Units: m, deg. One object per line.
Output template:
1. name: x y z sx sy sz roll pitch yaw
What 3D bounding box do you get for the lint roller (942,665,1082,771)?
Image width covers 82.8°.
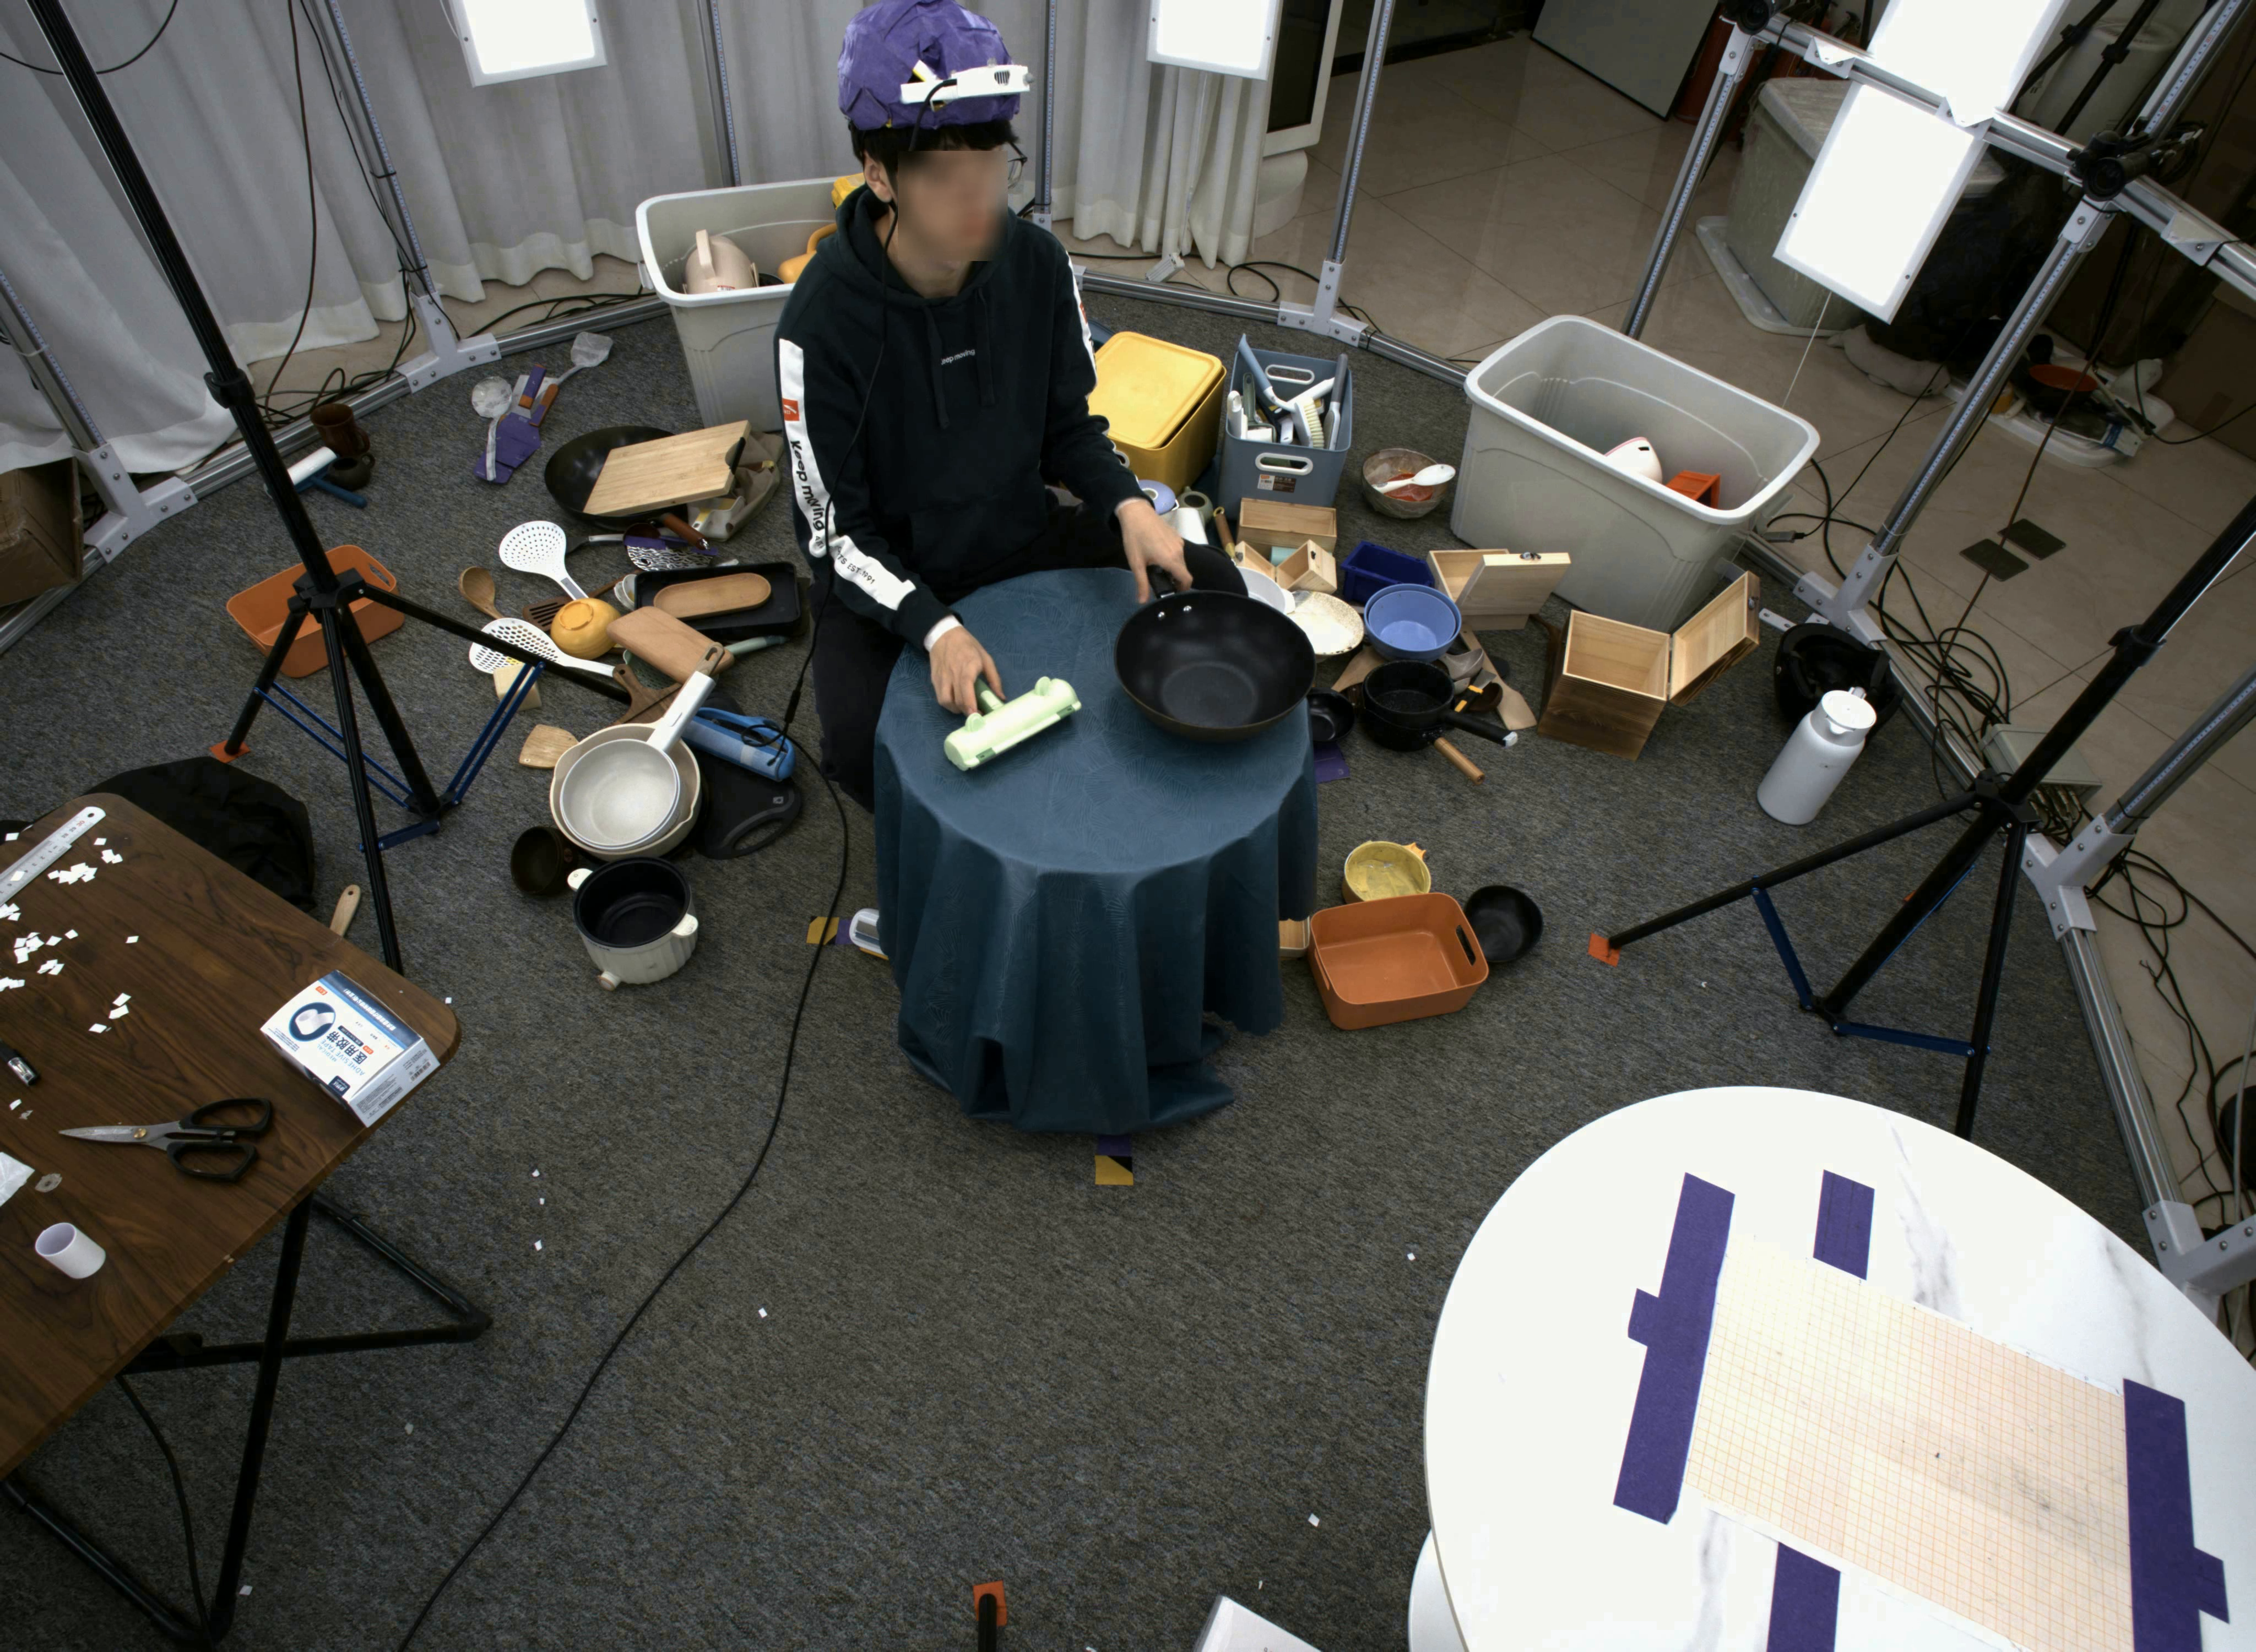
1. lint roller: -0.192 -0.180 1.763 0.200 0.080 0.186 -31 63 -26

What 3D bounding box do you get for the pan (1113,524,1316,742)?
1. pan: 0.080 -0.274 1.858 0.288 0.085 0.474 -17 51 -18
